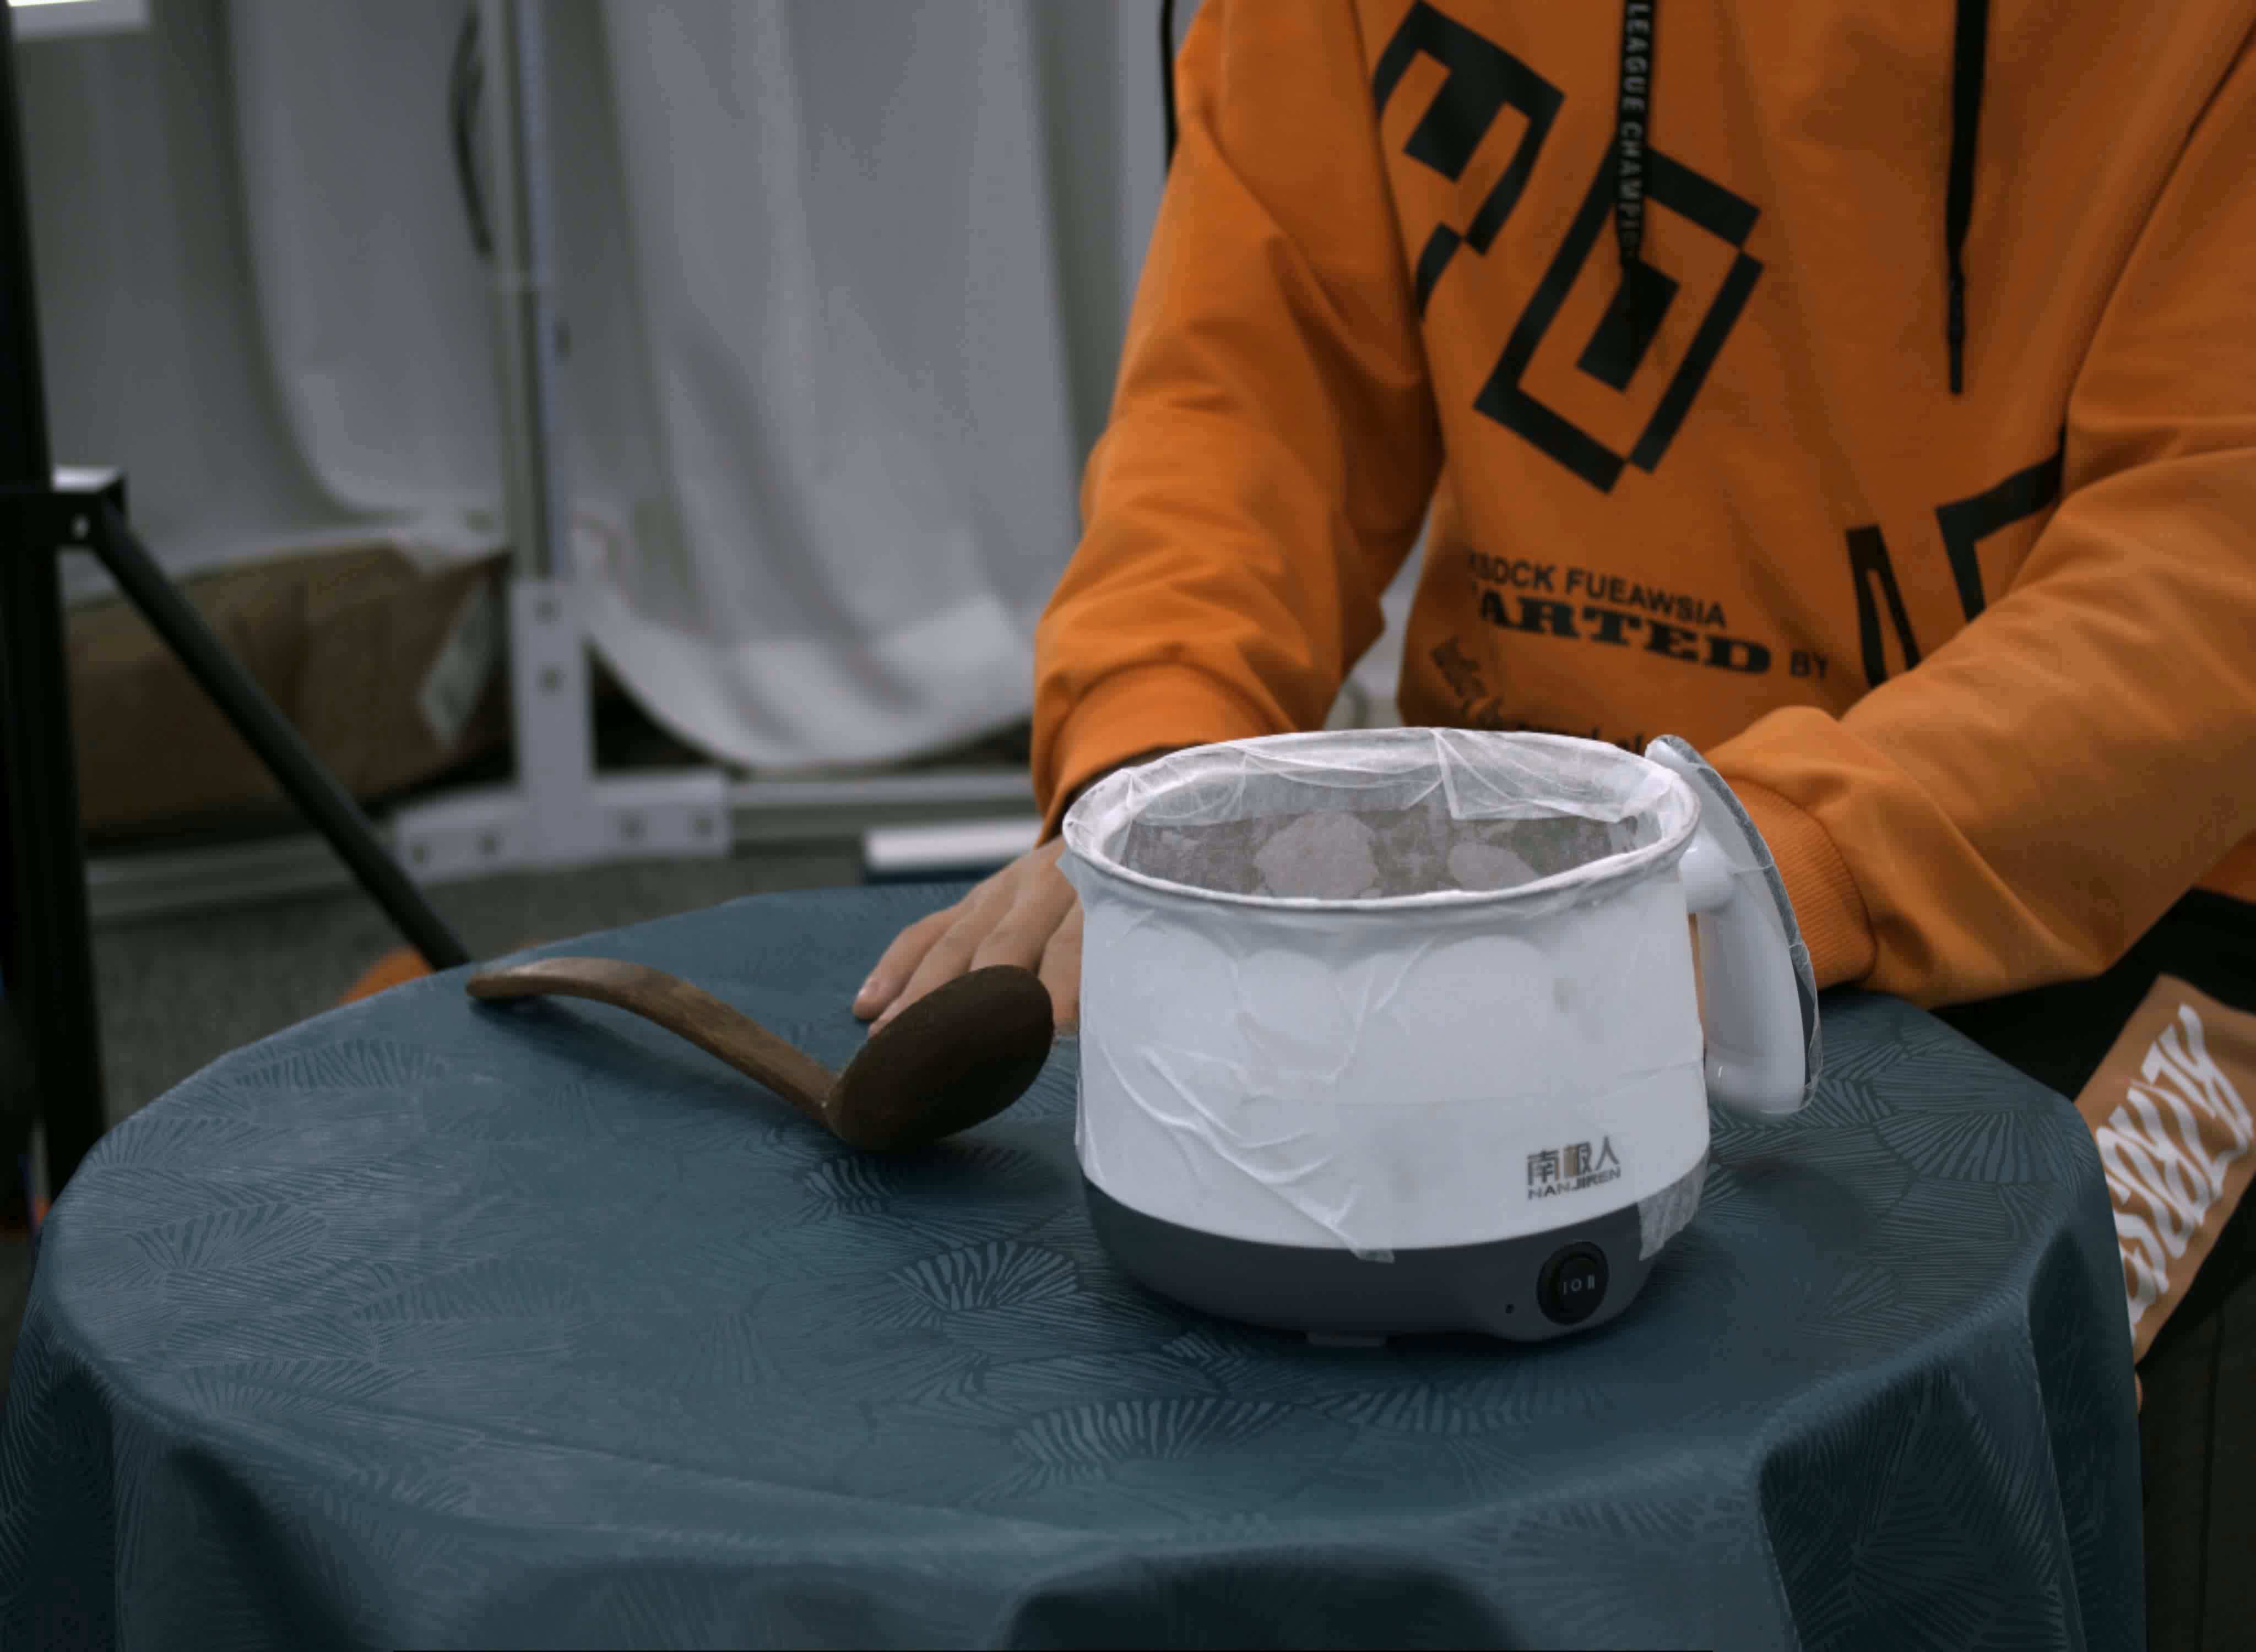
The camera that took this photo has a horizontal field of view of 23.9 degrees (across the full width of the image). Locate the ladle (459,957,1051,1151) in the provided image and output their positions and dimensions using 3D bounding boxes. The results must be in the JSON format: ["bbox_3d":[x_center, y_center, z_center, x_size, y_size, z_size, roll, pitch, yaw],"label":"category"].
[{"bbox_3d":[-0.126,0.048,1.664,0.074,0.071,0.280,-10,18,-38],"label":"ladle"}]

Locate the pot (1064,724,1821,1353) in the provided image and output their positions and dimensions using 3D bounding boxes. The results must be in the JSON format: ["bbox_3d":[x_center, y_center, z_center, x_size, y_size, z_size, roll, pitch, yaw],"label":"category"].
[{"bbox_3d":[0.096,0.052,1.488,0.228,0.136,0.183,-12,18,-30],"label":"pot"}]
